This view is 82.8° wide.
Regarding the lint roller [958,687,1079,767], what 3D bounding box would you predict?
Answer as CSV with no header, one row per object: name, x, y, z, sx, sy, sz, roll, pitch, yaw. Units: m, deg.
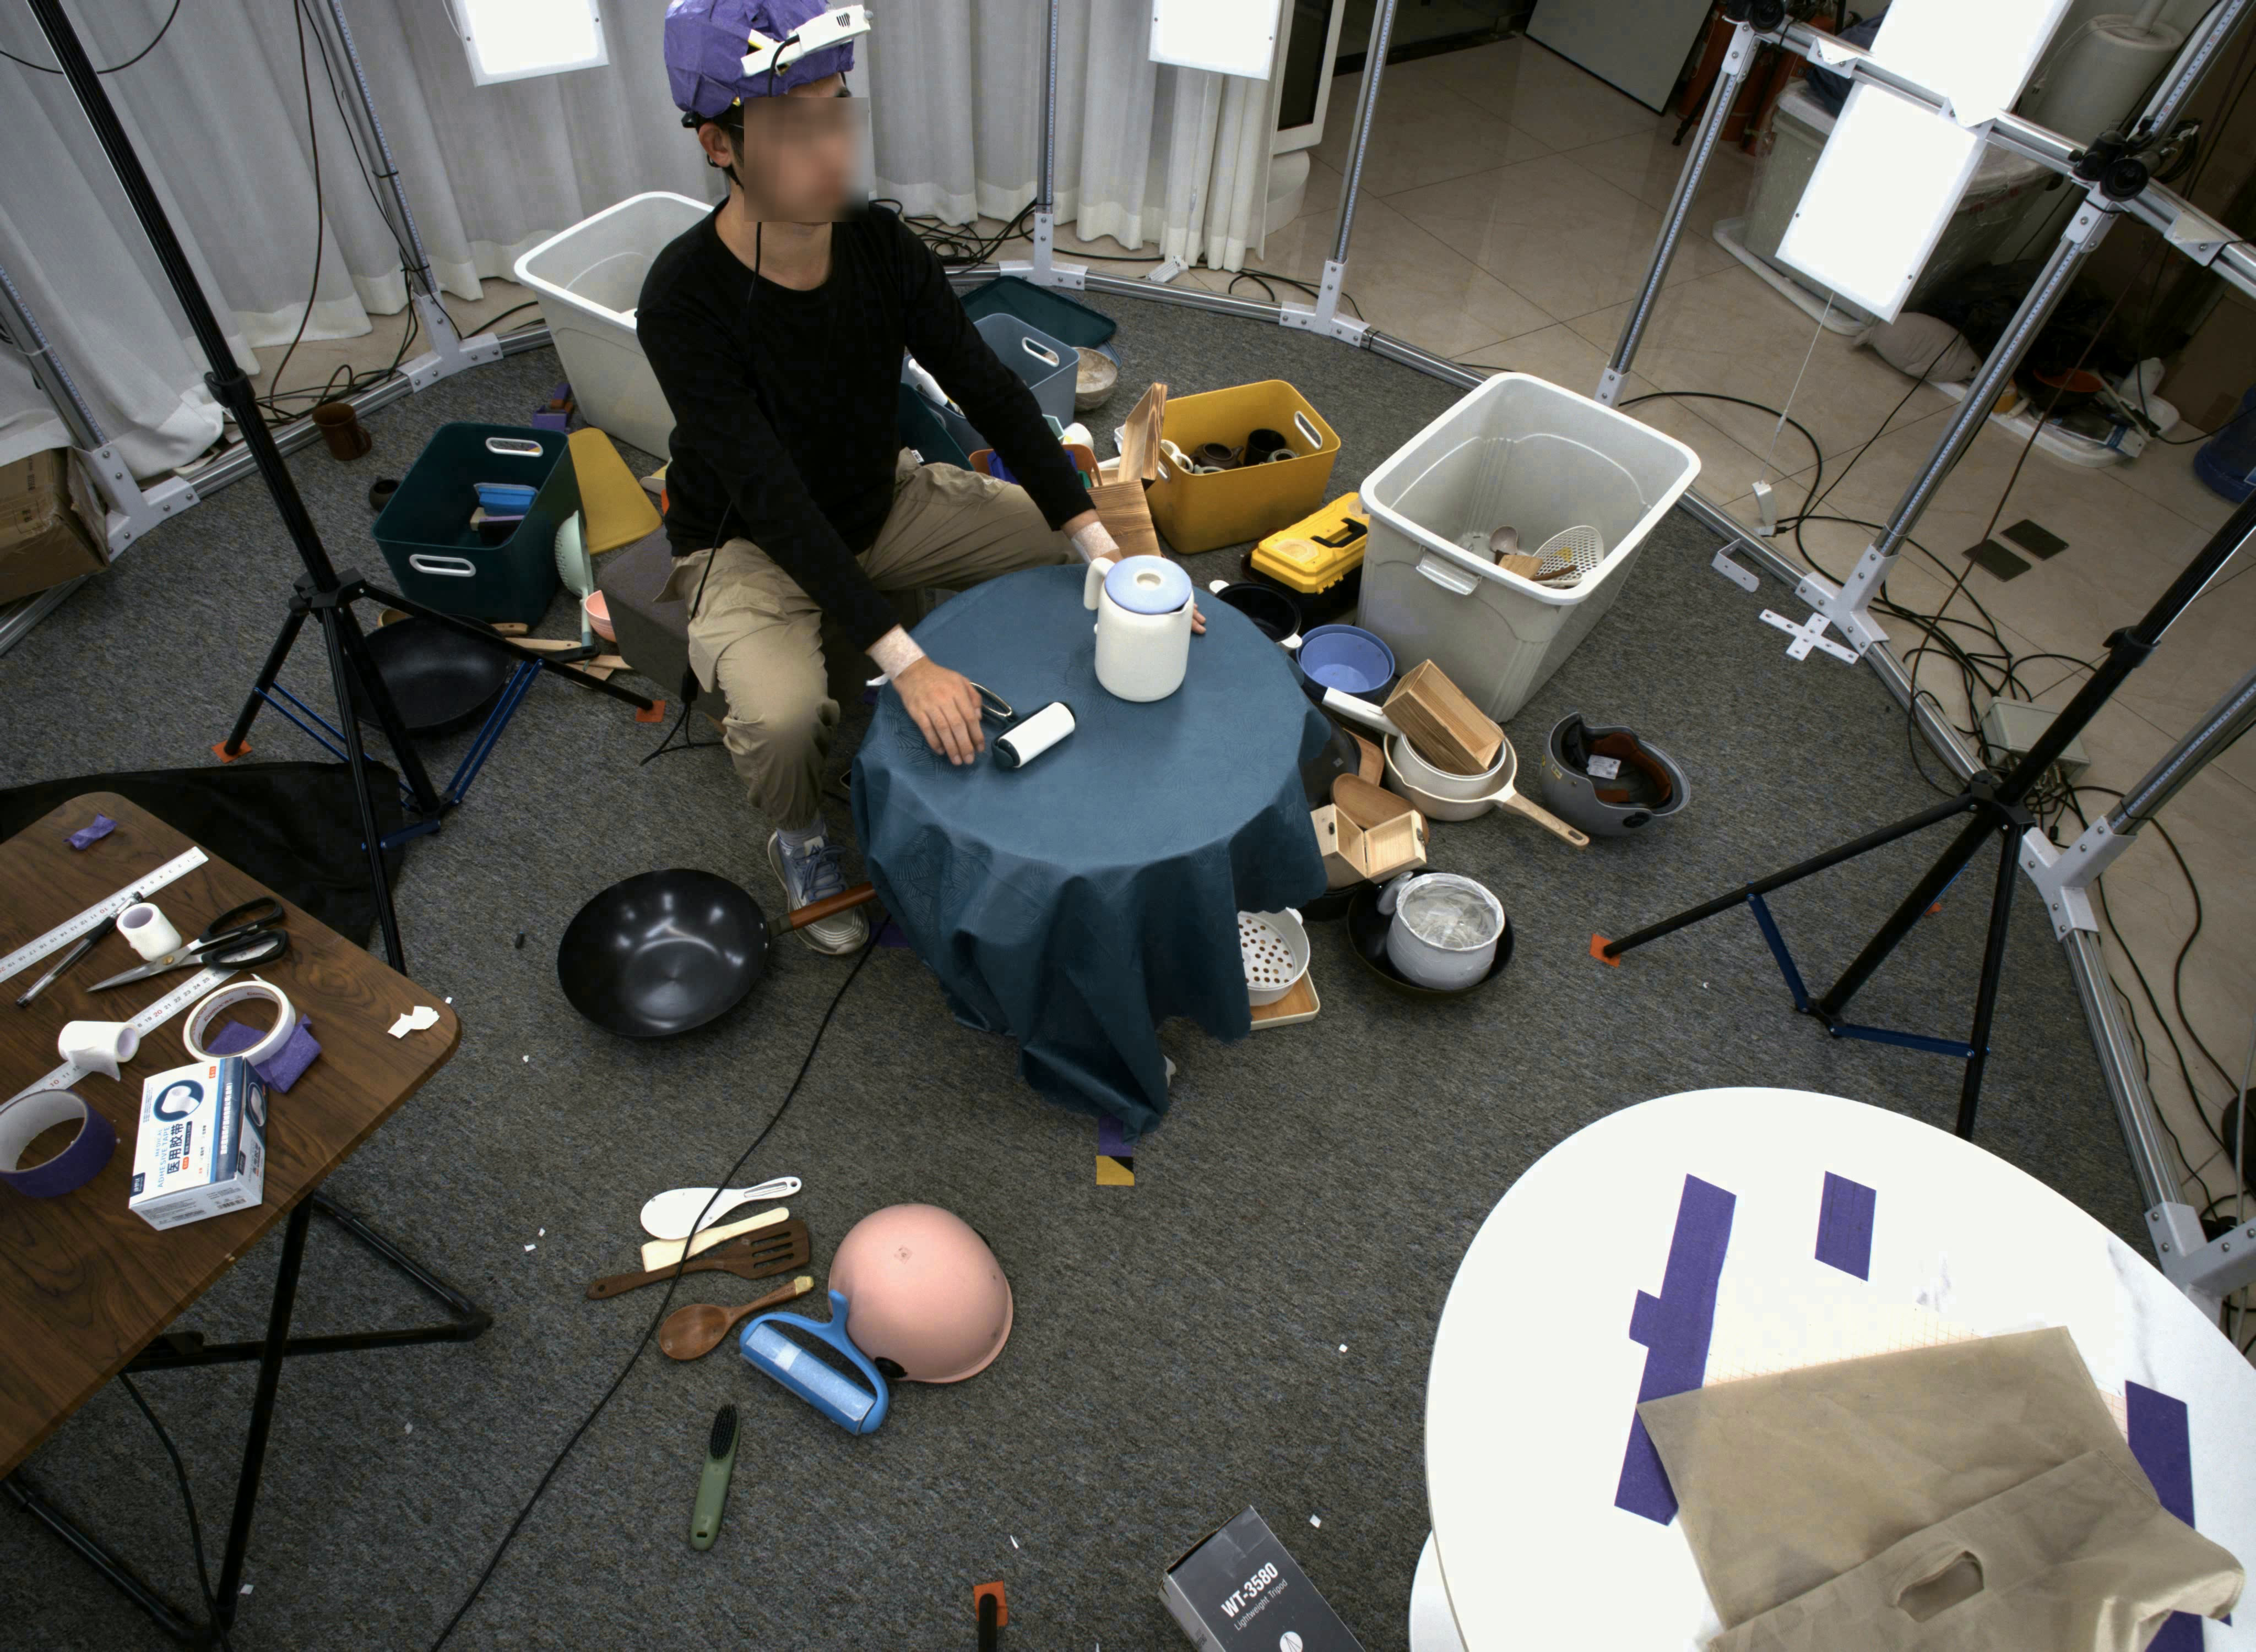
lint roller,-0.173,-0.160,1.770,0.183,0.047,0.135,37,56,28

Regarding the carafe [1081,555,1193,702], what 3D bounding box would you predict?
carafe,0.005,-0.290,1.811,0.133,0.178,0.194,-34,58,-29
